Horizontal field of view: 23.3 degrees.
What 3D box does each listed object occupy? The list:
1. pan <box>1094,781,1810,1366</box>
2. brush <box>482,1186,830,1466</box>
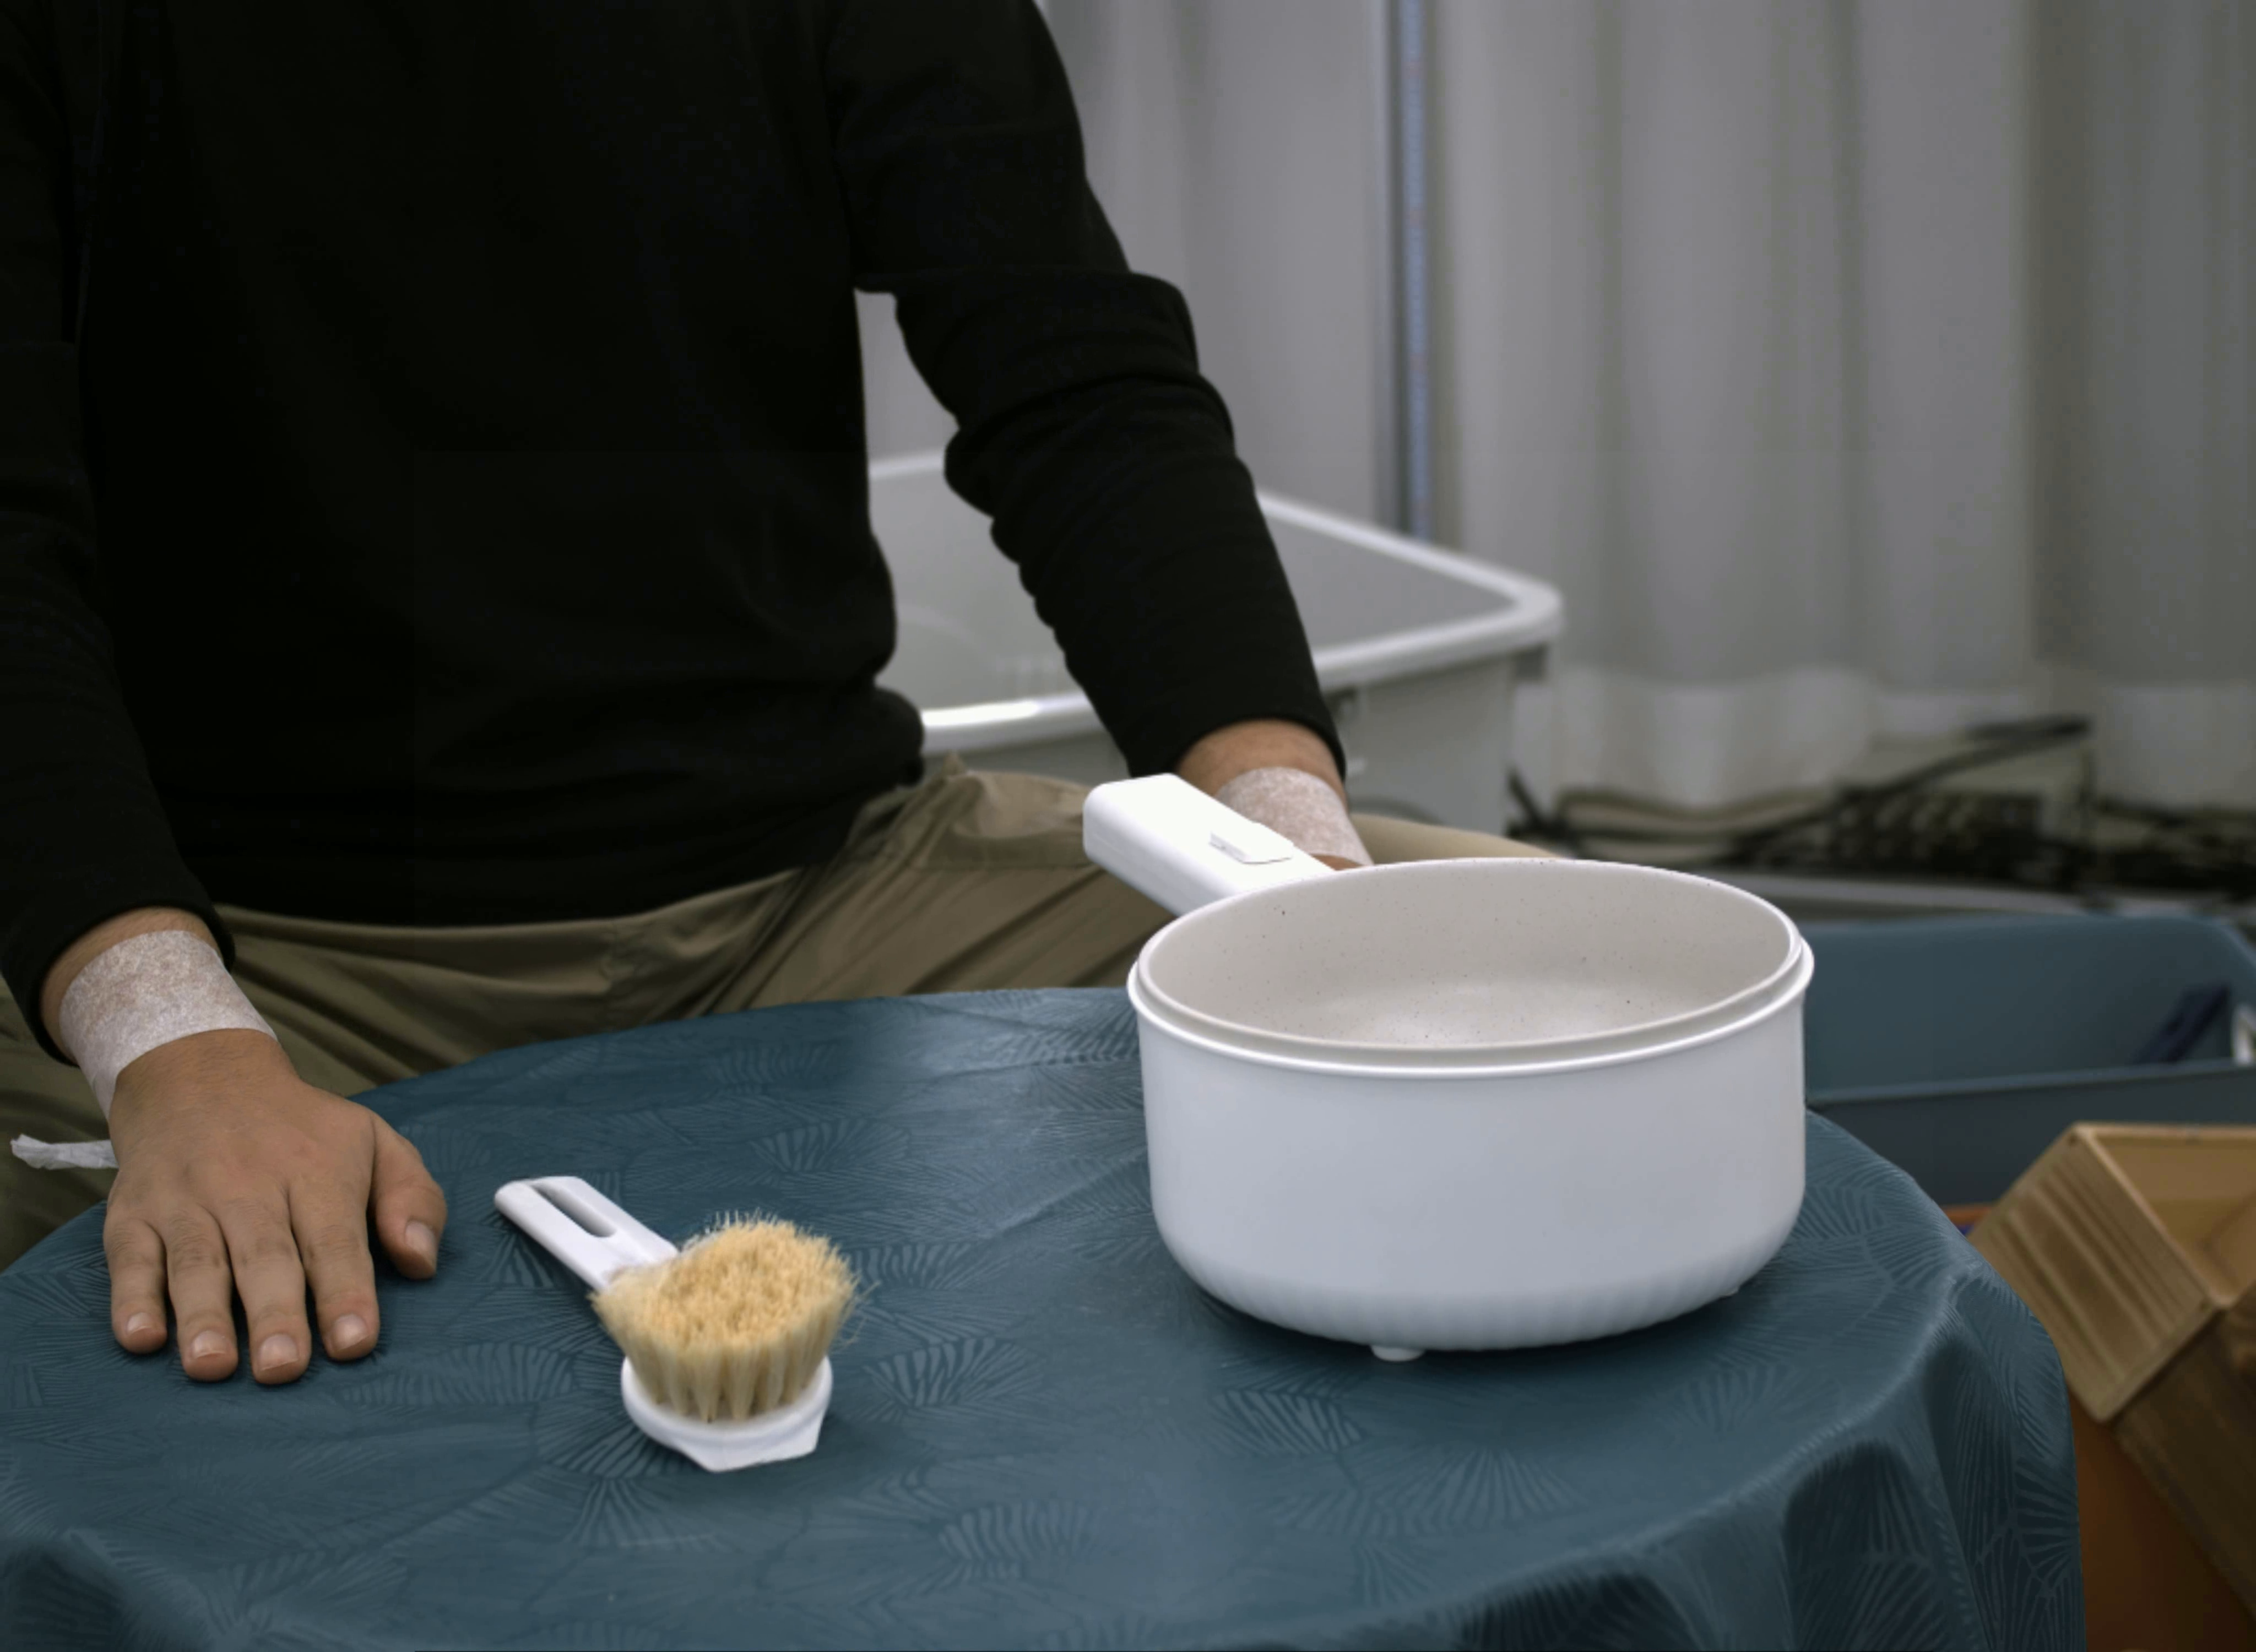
[{"bbox_3d":[0.073,0.069,1.684,0.200,0.102,0.357,-9,15,-21],"label":"pan"},{"bbox_3d":[-0.151,0.122,1.611,0.068,0.056,0.268,-4,13,-18],"label":"brush"}]
